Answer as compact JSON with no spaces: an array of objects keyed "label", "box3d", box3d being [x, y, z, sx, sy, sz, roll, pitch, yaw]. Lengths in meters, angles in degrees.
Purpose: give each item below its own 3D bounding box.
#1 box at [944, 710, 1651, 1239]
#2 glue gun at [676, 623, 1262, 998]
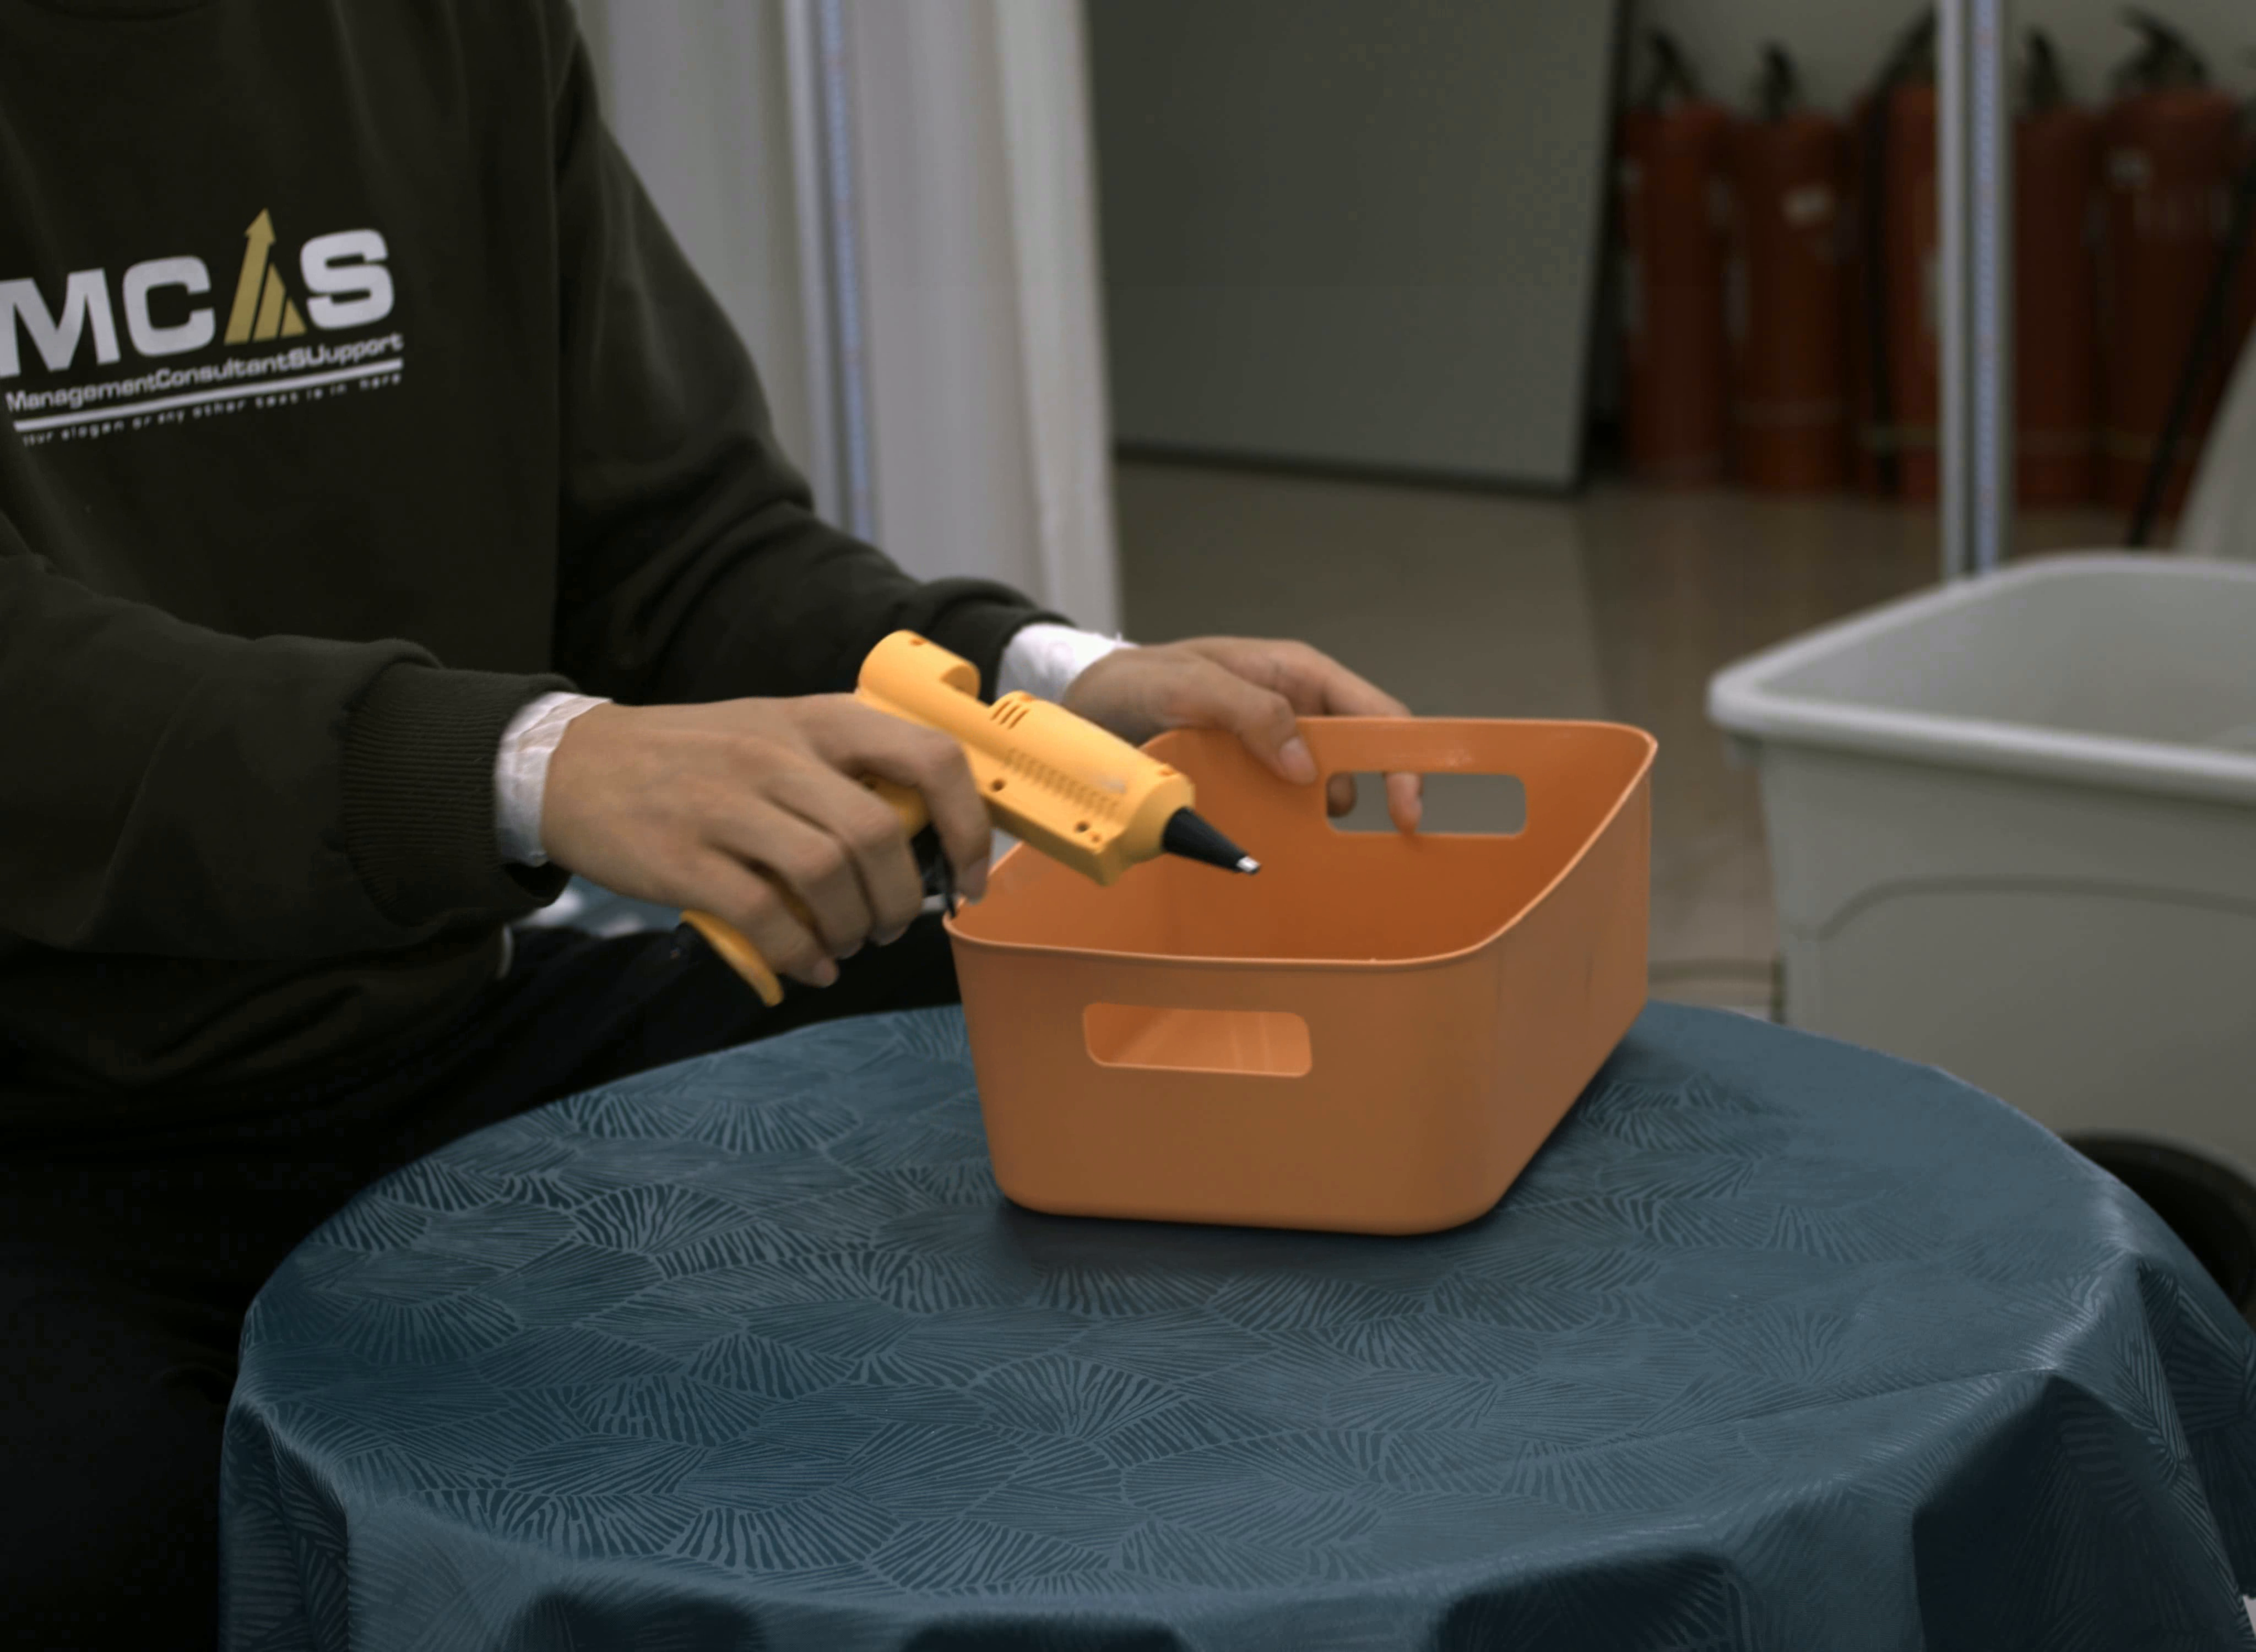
[{"label":"box","box3d":[0.065,0.049,1.824,0.199,0.103,0.271,0,18,21]},{"label":"glue gun","box3d":[-0.042,0.013,1.629,0.152,0.031,0.132,22,62,27]}]
